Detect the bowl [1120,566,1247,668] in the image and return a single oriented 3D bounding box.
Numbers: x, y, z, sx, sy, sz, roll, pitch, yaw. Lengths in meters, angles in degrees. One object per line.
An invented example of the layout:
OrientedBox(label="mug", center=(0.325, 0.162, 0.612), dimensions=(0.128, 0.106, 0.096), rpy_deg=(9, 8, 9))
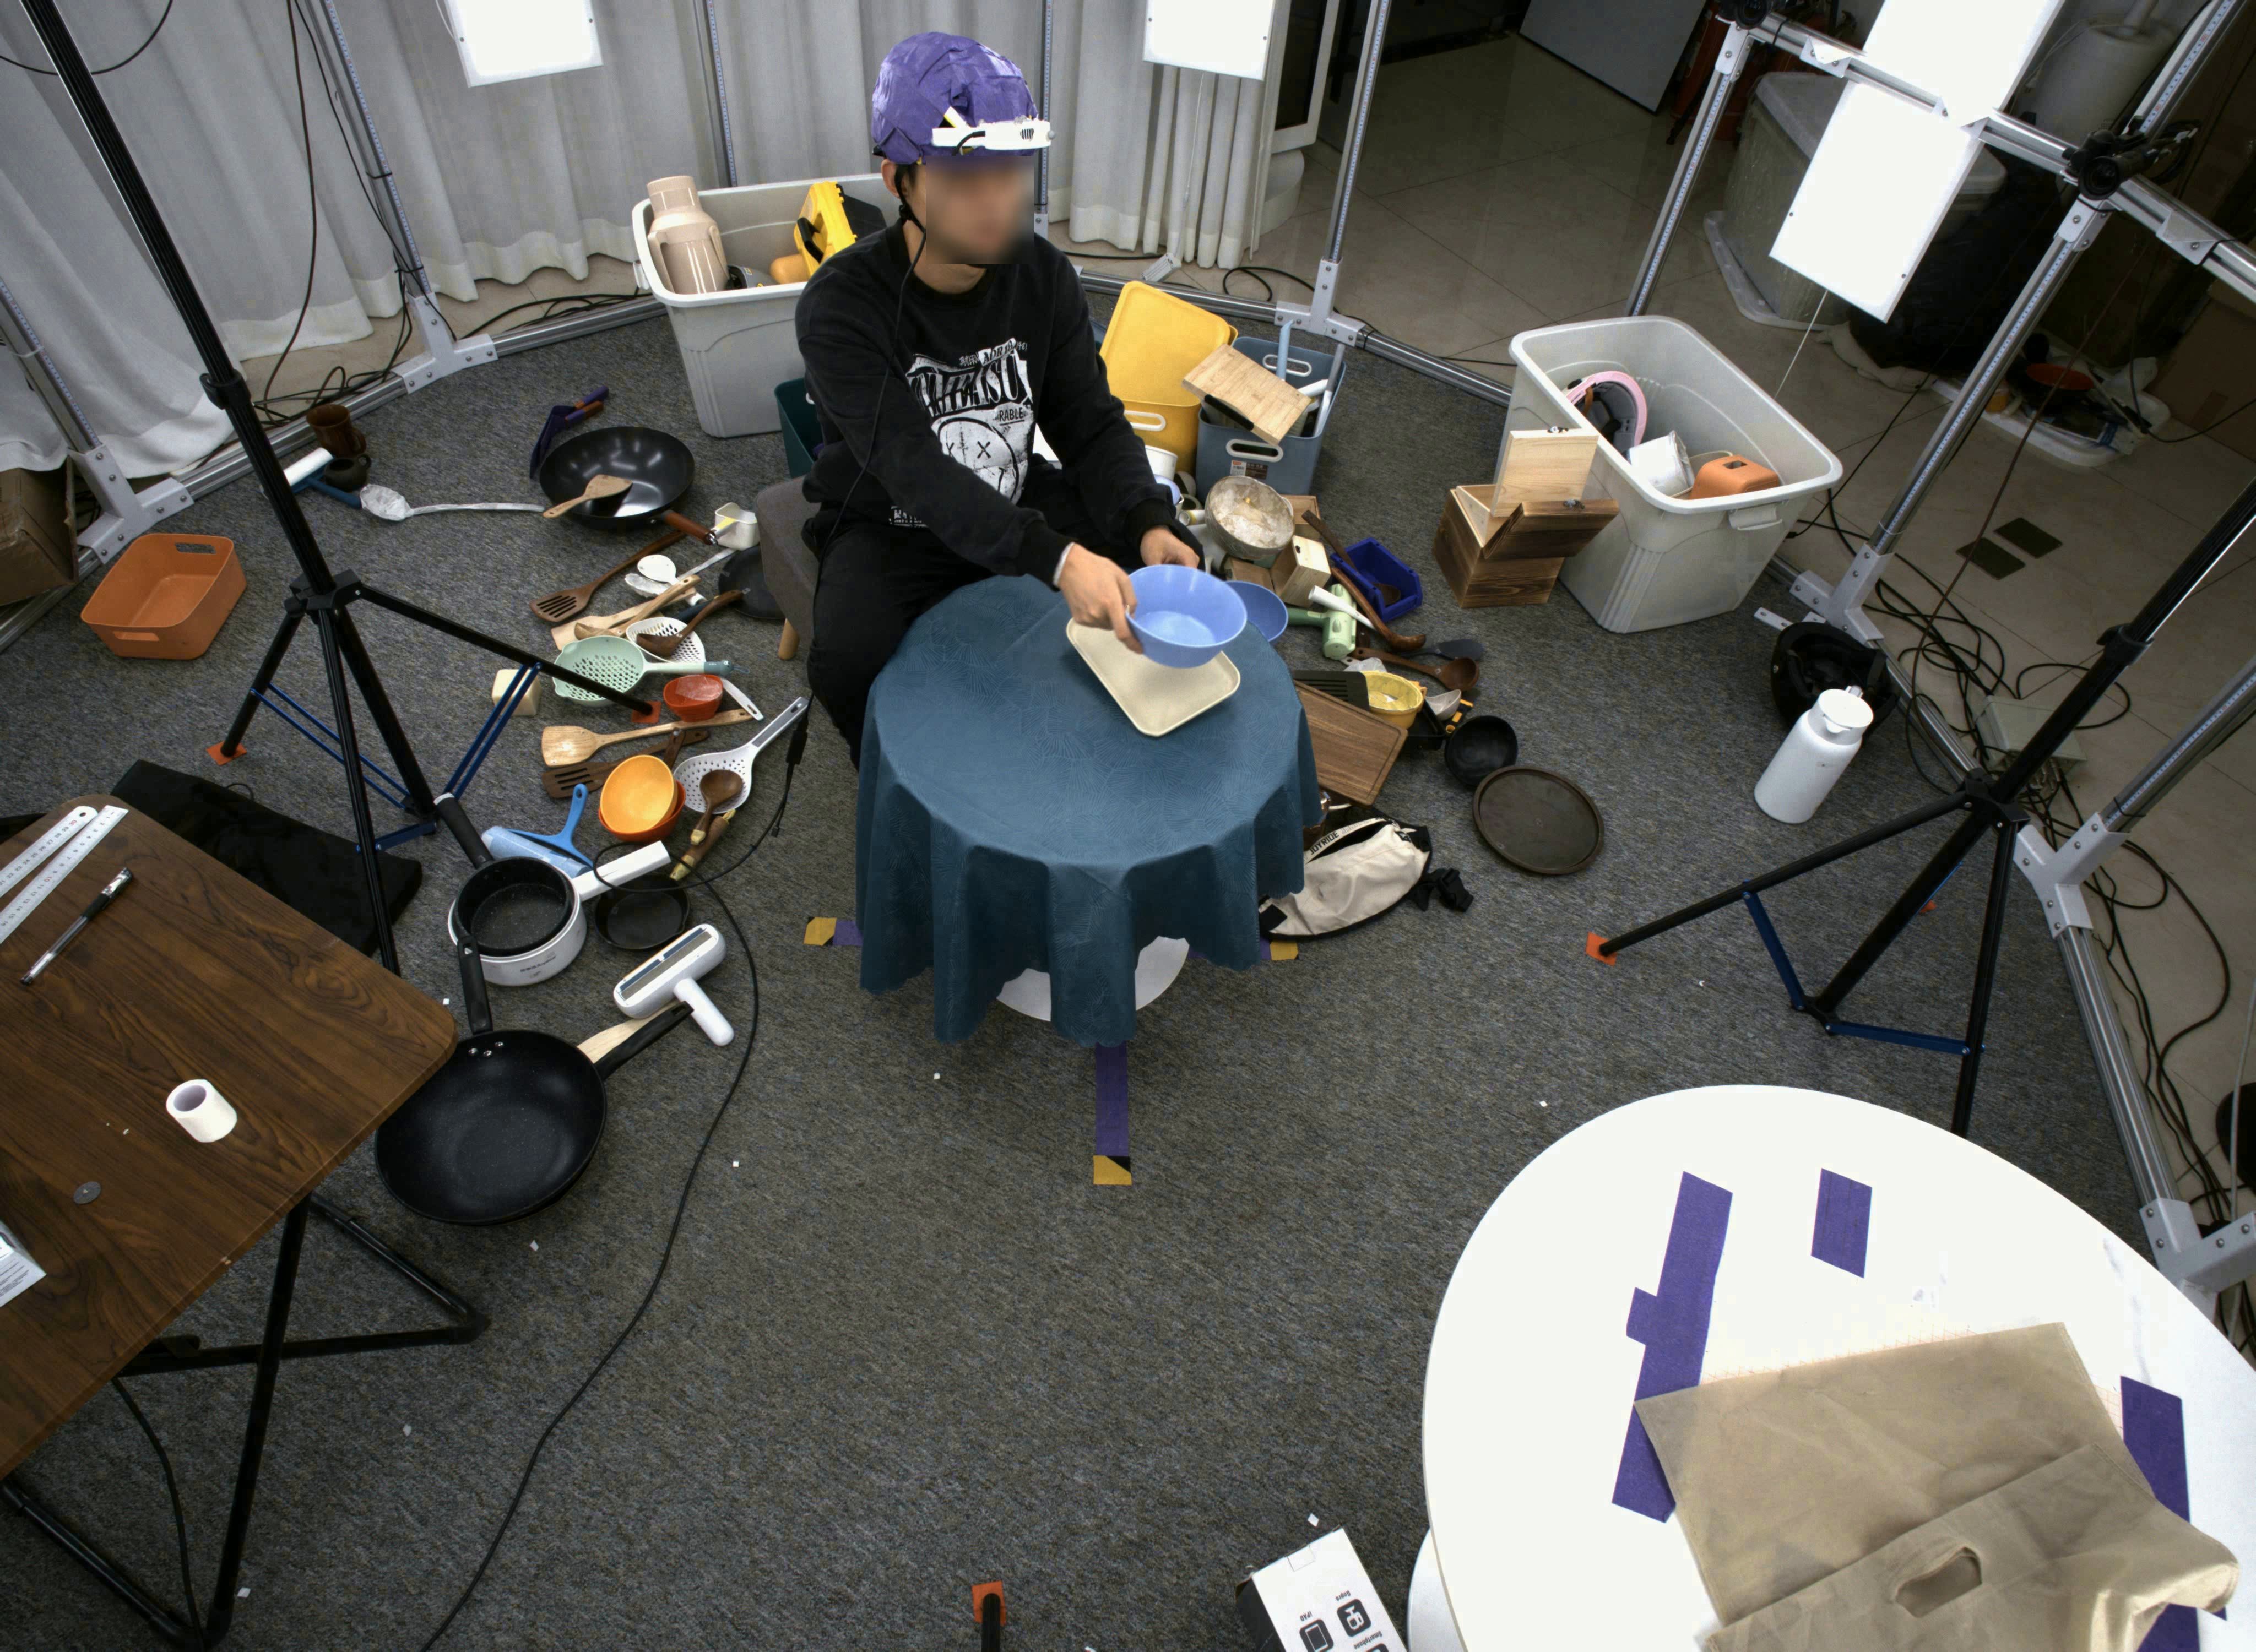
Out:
OrientedBox(label="bowl", center=(0.070, -0.279, 1.765), dimensions=(0.175, 0.069, 0.180), rpy_deg=(7, 45, -8))

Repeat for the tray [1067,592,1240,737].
OrientedBox(label="tray", center=(0.035, -0.242, 1.854), dimensions=(0.172, 0.017, 0.244), rpy_deg=(-30, 63, -14))
